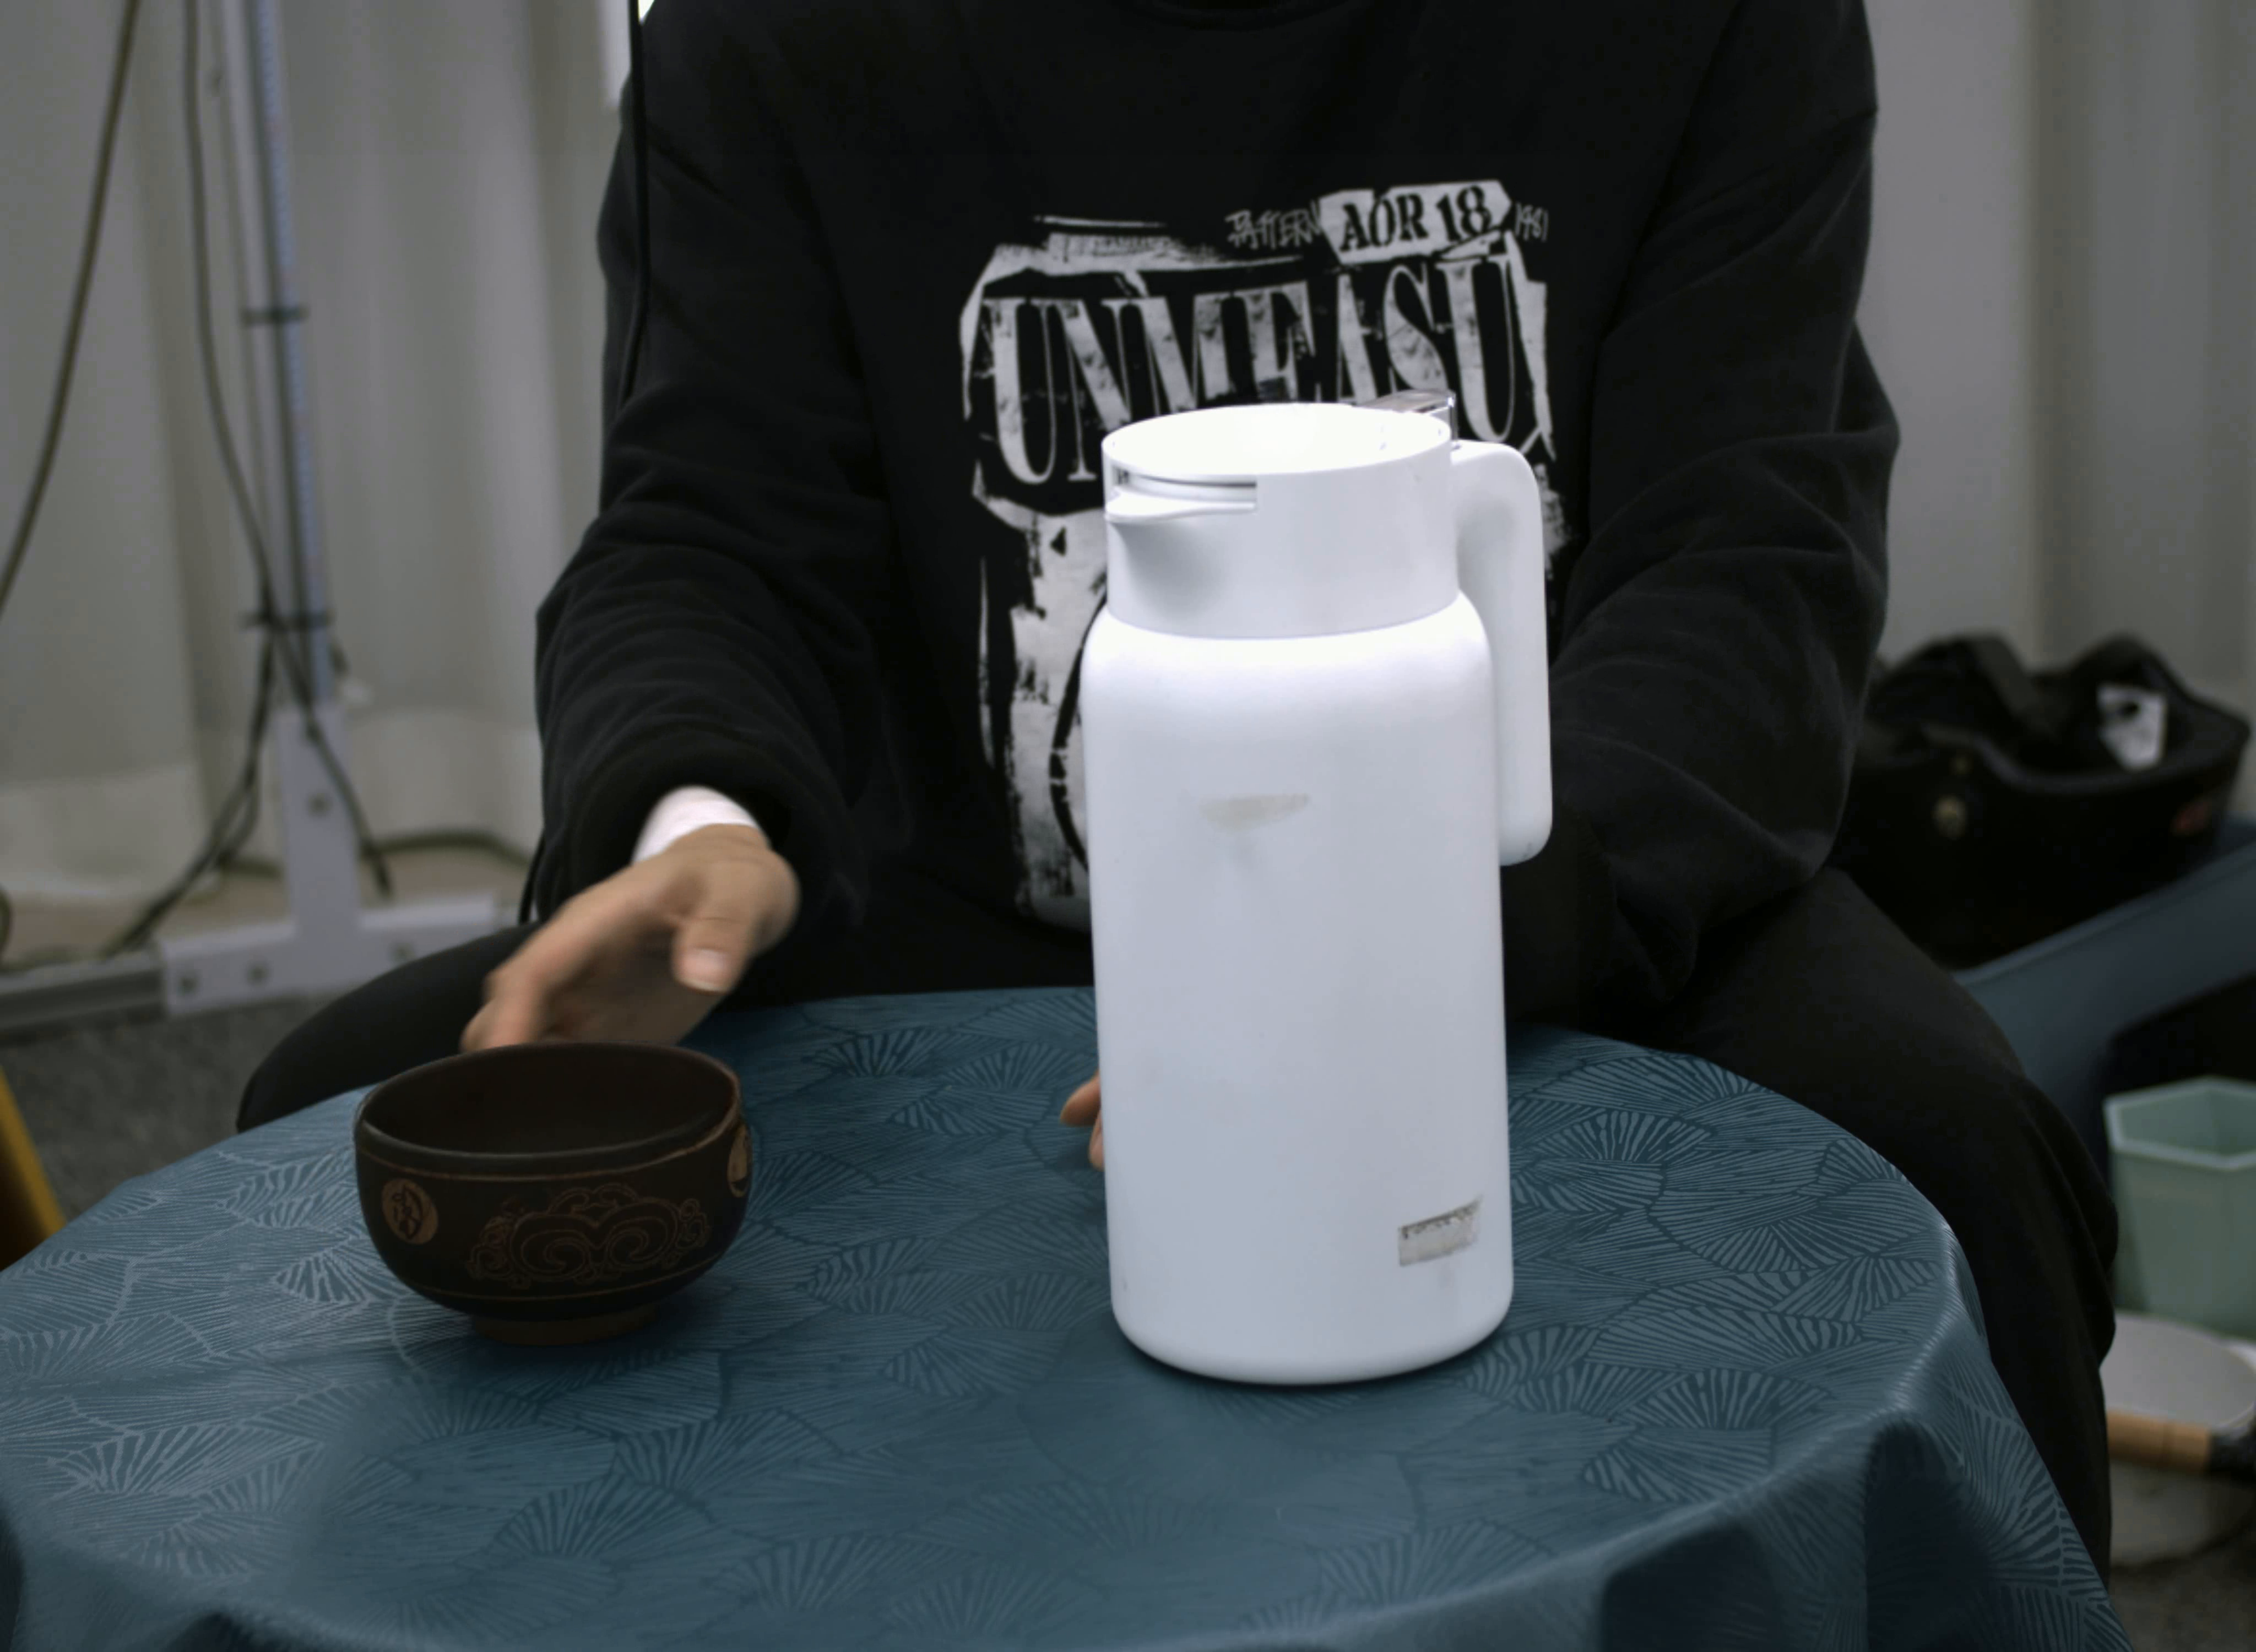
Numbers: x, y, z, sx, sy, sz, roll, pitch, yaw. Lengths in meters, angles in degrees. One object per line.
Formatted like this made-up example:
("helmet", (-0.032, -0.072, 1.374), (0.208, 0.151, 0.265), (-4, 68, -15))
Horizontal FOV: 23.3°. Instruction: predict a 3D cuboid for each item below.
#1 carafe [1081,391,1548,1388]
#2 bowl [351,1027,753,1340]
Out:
("carafe", (0.058, 0.014, 1.569), (0.124, 0.268, 0.172), (6, 16, 40))
("bowl", (-0.169, 0.110, 1.621), (0.117, 0.069, 0.119), (-3, 16, 1))
